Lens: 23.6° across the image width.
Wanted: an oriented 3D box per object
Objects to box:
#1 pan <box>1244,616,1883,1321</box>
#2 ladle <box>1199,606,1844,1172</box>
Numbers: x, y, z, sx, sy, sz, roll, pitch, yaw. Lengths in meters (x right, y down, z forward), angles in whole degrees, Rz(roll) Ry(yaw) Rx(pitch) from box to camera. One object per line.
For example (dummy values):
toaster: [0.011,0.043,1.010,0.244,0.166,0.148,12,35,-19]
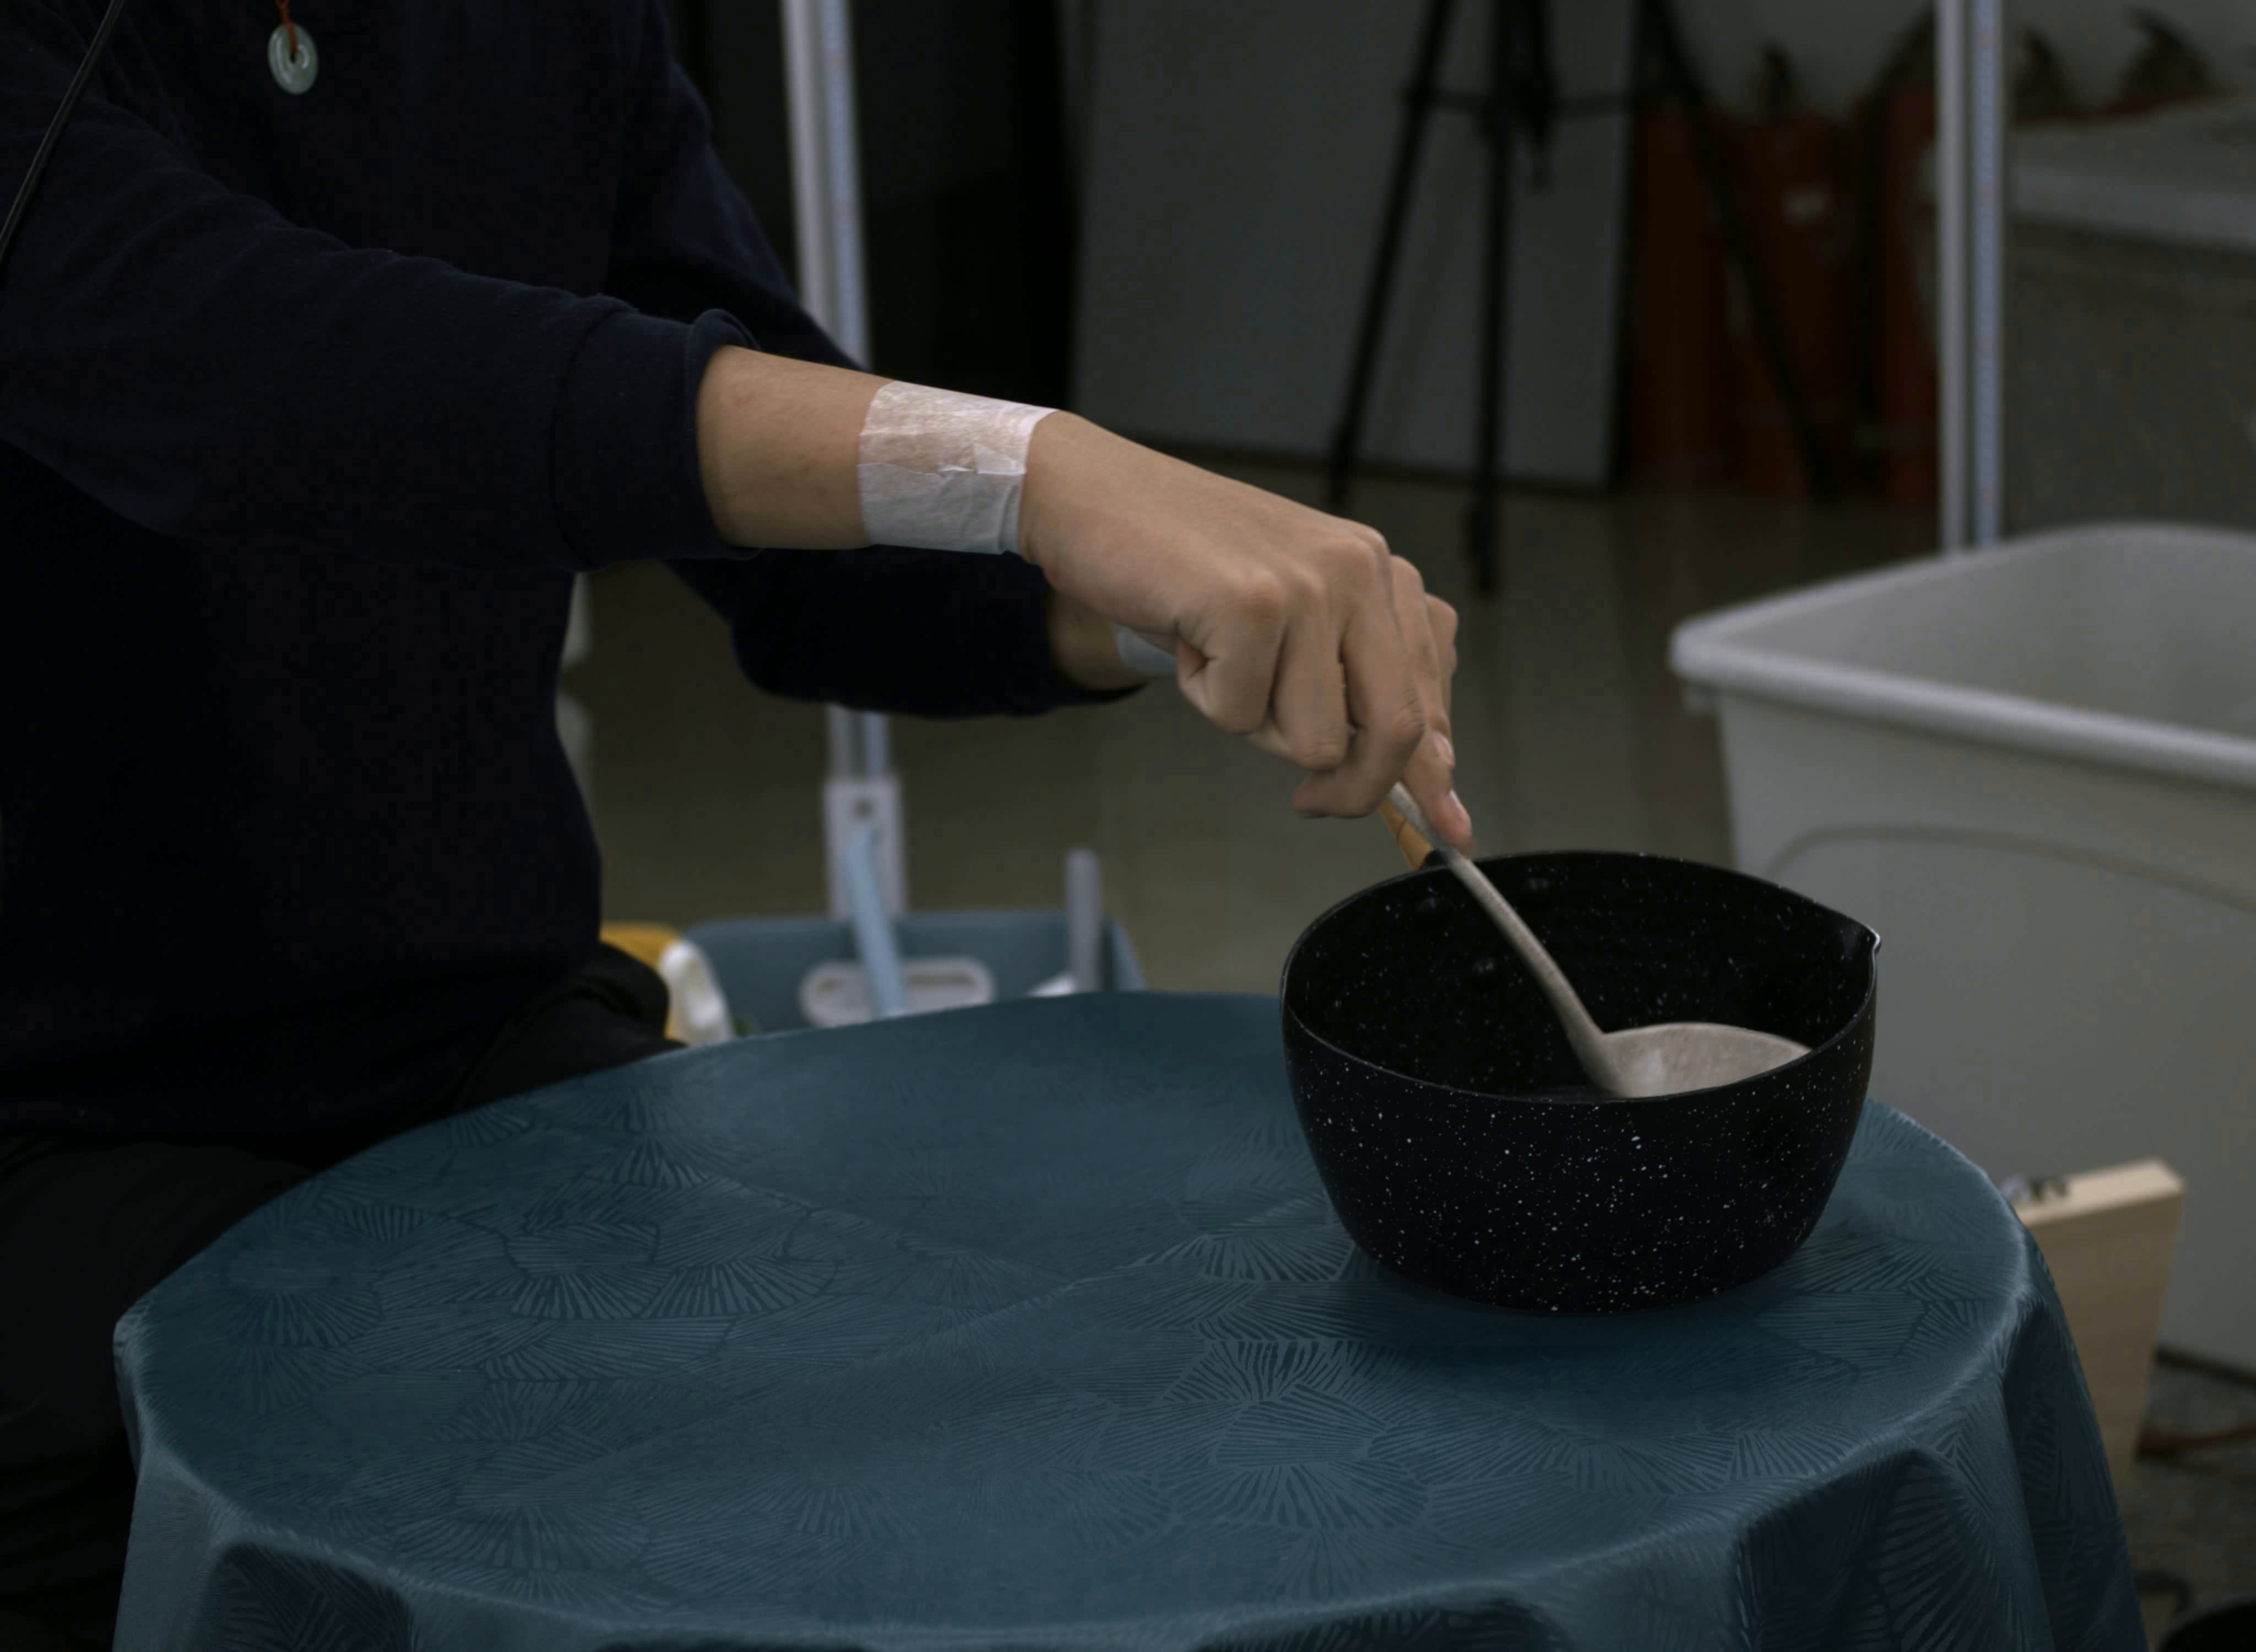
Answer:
pan: [0.116,0.041,1.740,0.203,0.109,0.346,-10,25,-14]
ladle: [0.119,0.010,1.593,0.069,0.272,0.090,-38,31,2]
